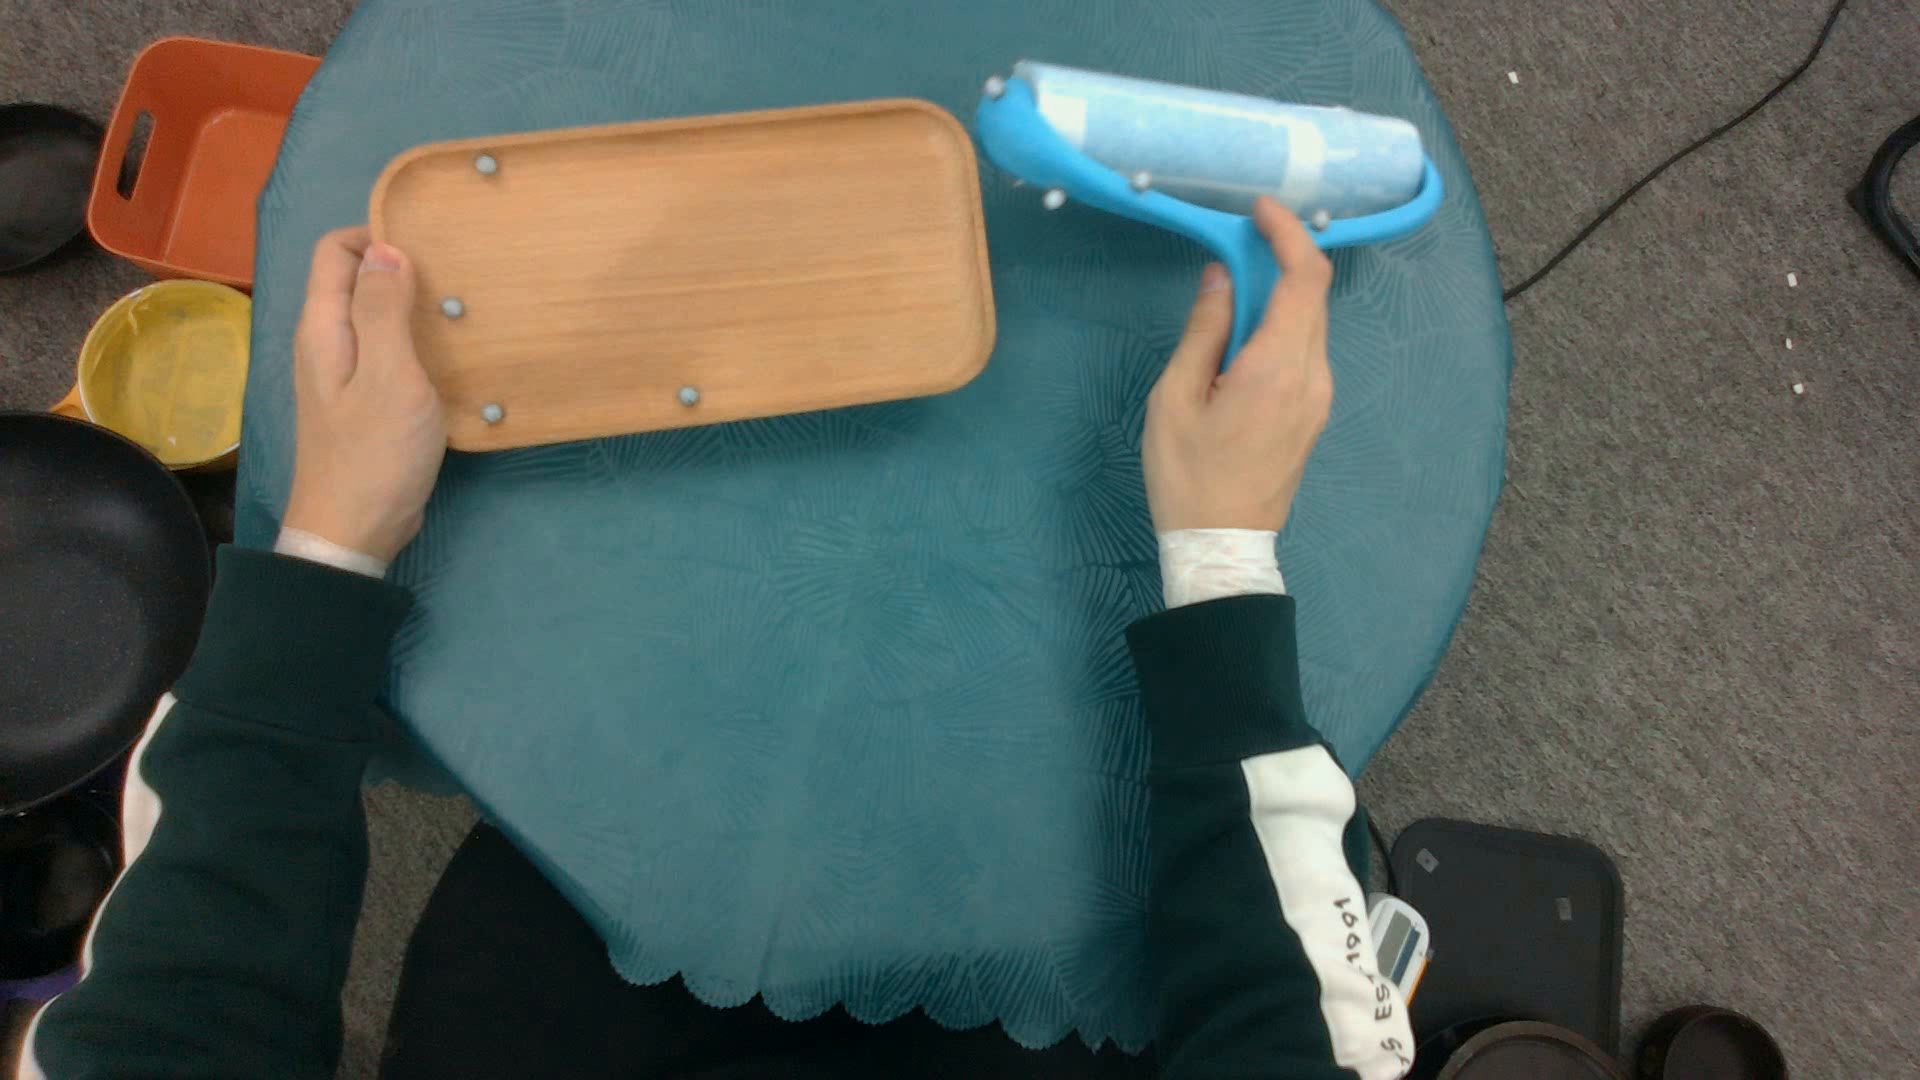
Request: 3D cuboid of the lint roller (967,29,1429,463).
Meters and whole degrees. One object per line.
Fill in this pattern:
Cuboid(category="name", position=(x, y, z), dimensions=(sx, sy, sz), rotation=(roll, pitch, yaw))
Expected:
Cuboid(category="lint roller", position=(0.115, -0.128, 0.611), dimensions=(0.229, 0.067, 0.180), rotation=(-1, 81, -25))

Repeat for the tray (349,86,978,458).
Cuboid(category="tray", position=(-0.121, -0.114, 0.583), dimensions=(0.251, 0.023, 0.130), rotation=(-9, 99, -8))
